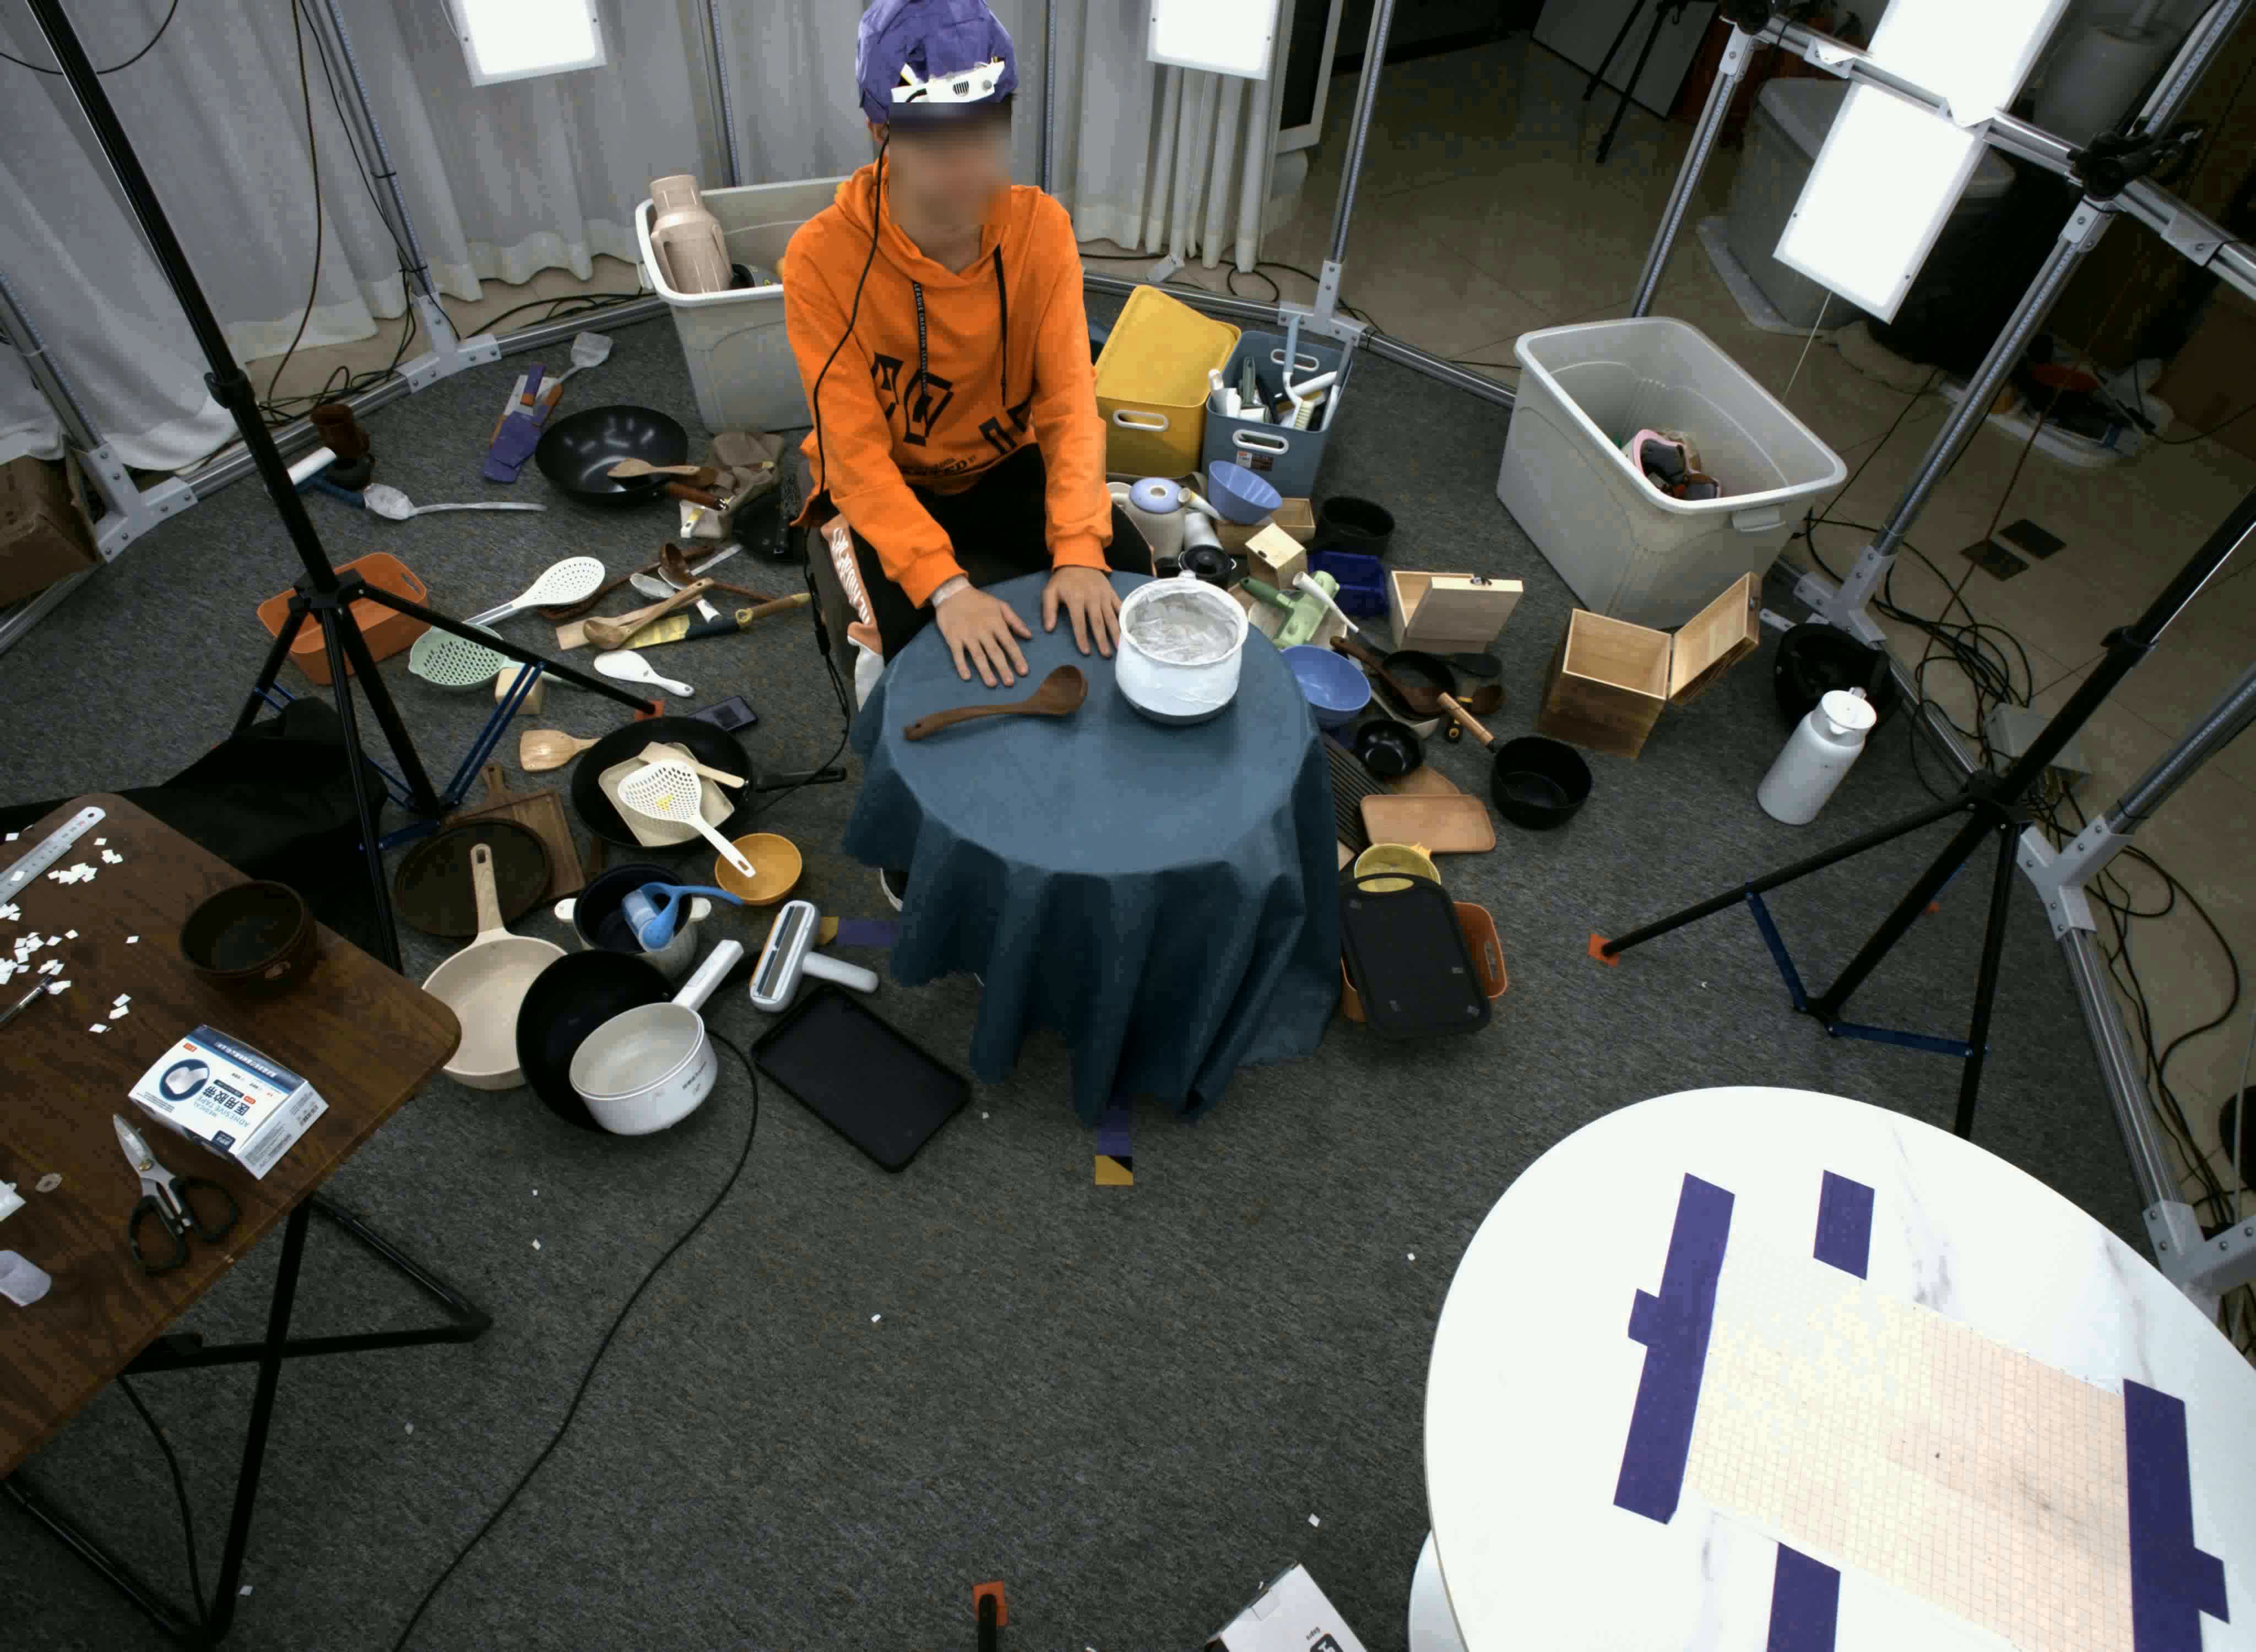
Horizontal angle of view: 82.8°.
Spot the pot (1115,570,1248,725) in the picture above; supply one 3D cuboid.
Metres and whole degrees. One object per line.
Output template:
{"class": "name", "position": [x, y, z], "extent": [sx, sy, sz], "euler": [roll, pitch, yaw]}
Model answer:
{"class": "pot", "position": [0.074, -0.262, 1.812], "extent": [0.178, 0.133, 0.239], "euler": [5, 49, 0]}

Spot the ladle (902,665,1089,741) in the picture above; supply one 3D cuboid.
{"class": "ladle", "position": [-0.181, -0.167, 1.760], "extent": [0.260, 0.063, 0.078], "euler": [-12, 48, -14]}
